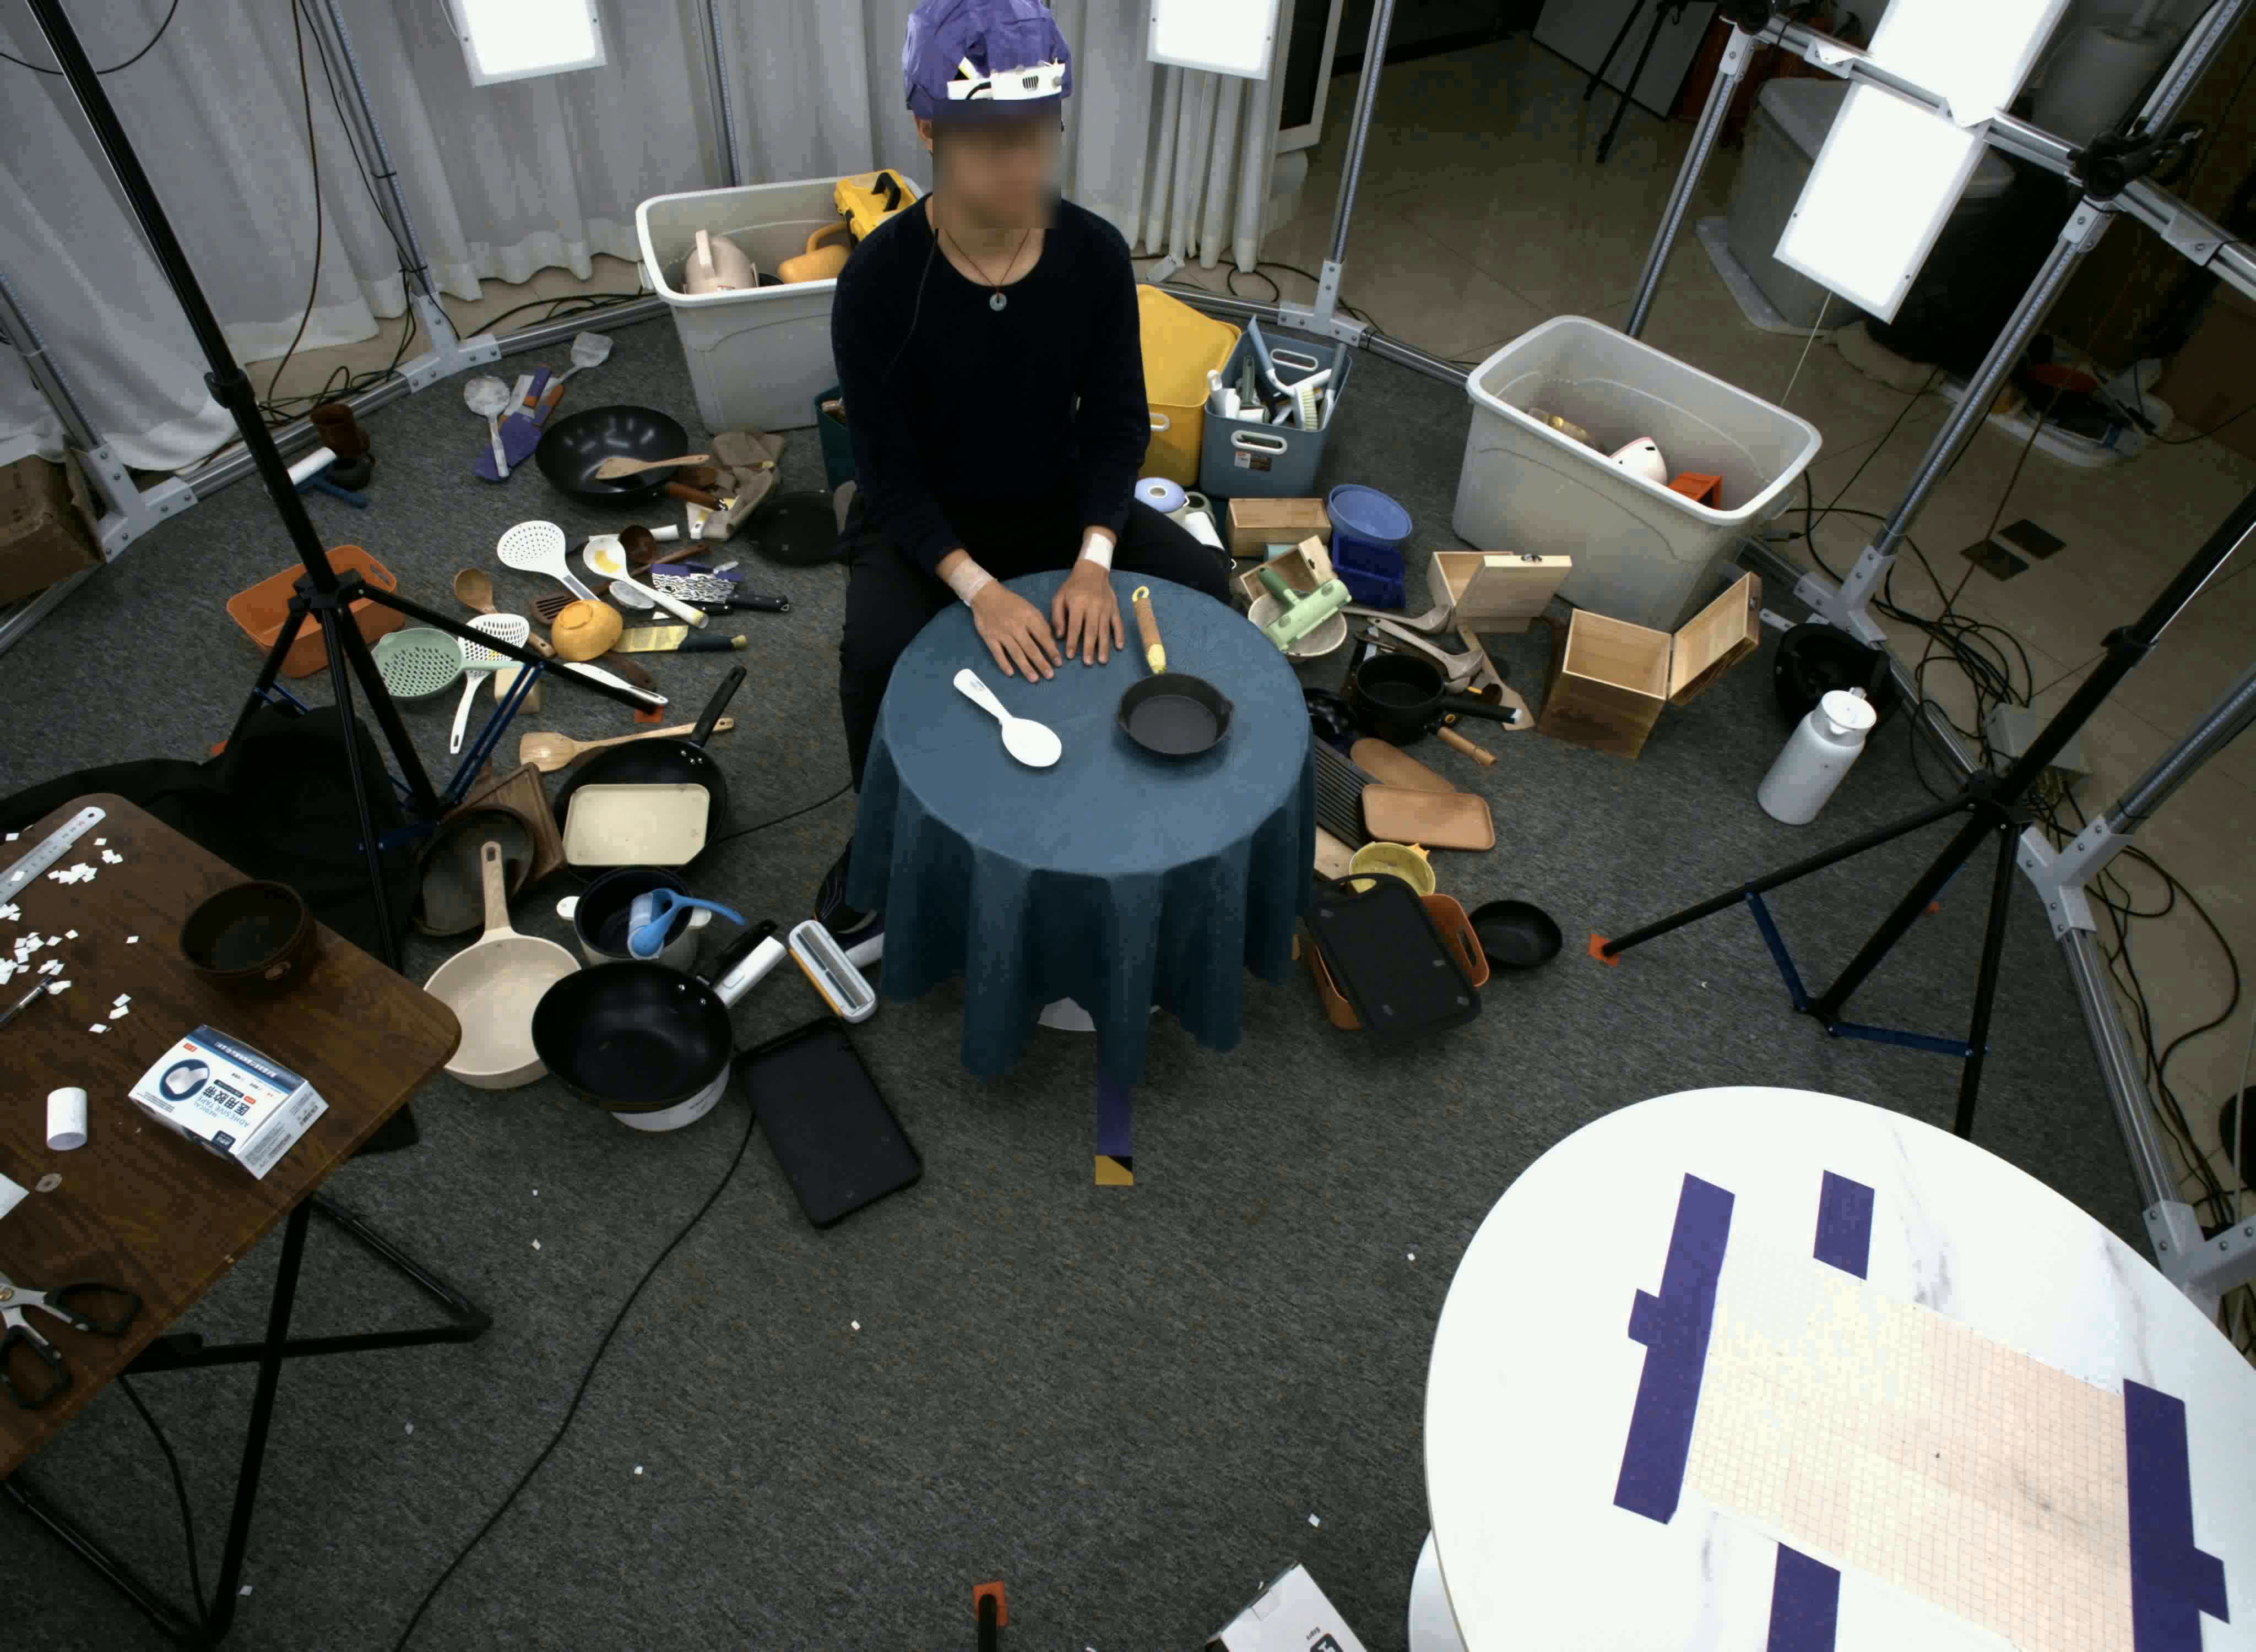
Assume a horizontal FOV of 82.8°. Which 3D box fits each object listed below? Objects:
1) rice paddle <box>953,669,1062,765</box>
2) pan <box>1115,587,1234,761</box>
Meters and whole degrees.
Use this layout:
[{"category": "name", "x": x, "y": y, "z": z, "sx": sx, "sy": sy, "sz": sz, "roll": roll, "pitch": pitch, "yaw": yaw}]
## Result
[{"category": "rice paddle", "x": -0.167, "y": -0.150, "z": 1.768, "sx": 0.069, "sy": 0.029, "sz": 0.209, "roll": -33, "pitch": 58, "yaw": -26}, {"category": "pan", "x": 0.049, "y": -0.219, "z": 1.829, "sx": 0.169, "sy": 0.048, "sz": 0.332, "roll": -6, "pitch": 51, "yaw": -9}]
